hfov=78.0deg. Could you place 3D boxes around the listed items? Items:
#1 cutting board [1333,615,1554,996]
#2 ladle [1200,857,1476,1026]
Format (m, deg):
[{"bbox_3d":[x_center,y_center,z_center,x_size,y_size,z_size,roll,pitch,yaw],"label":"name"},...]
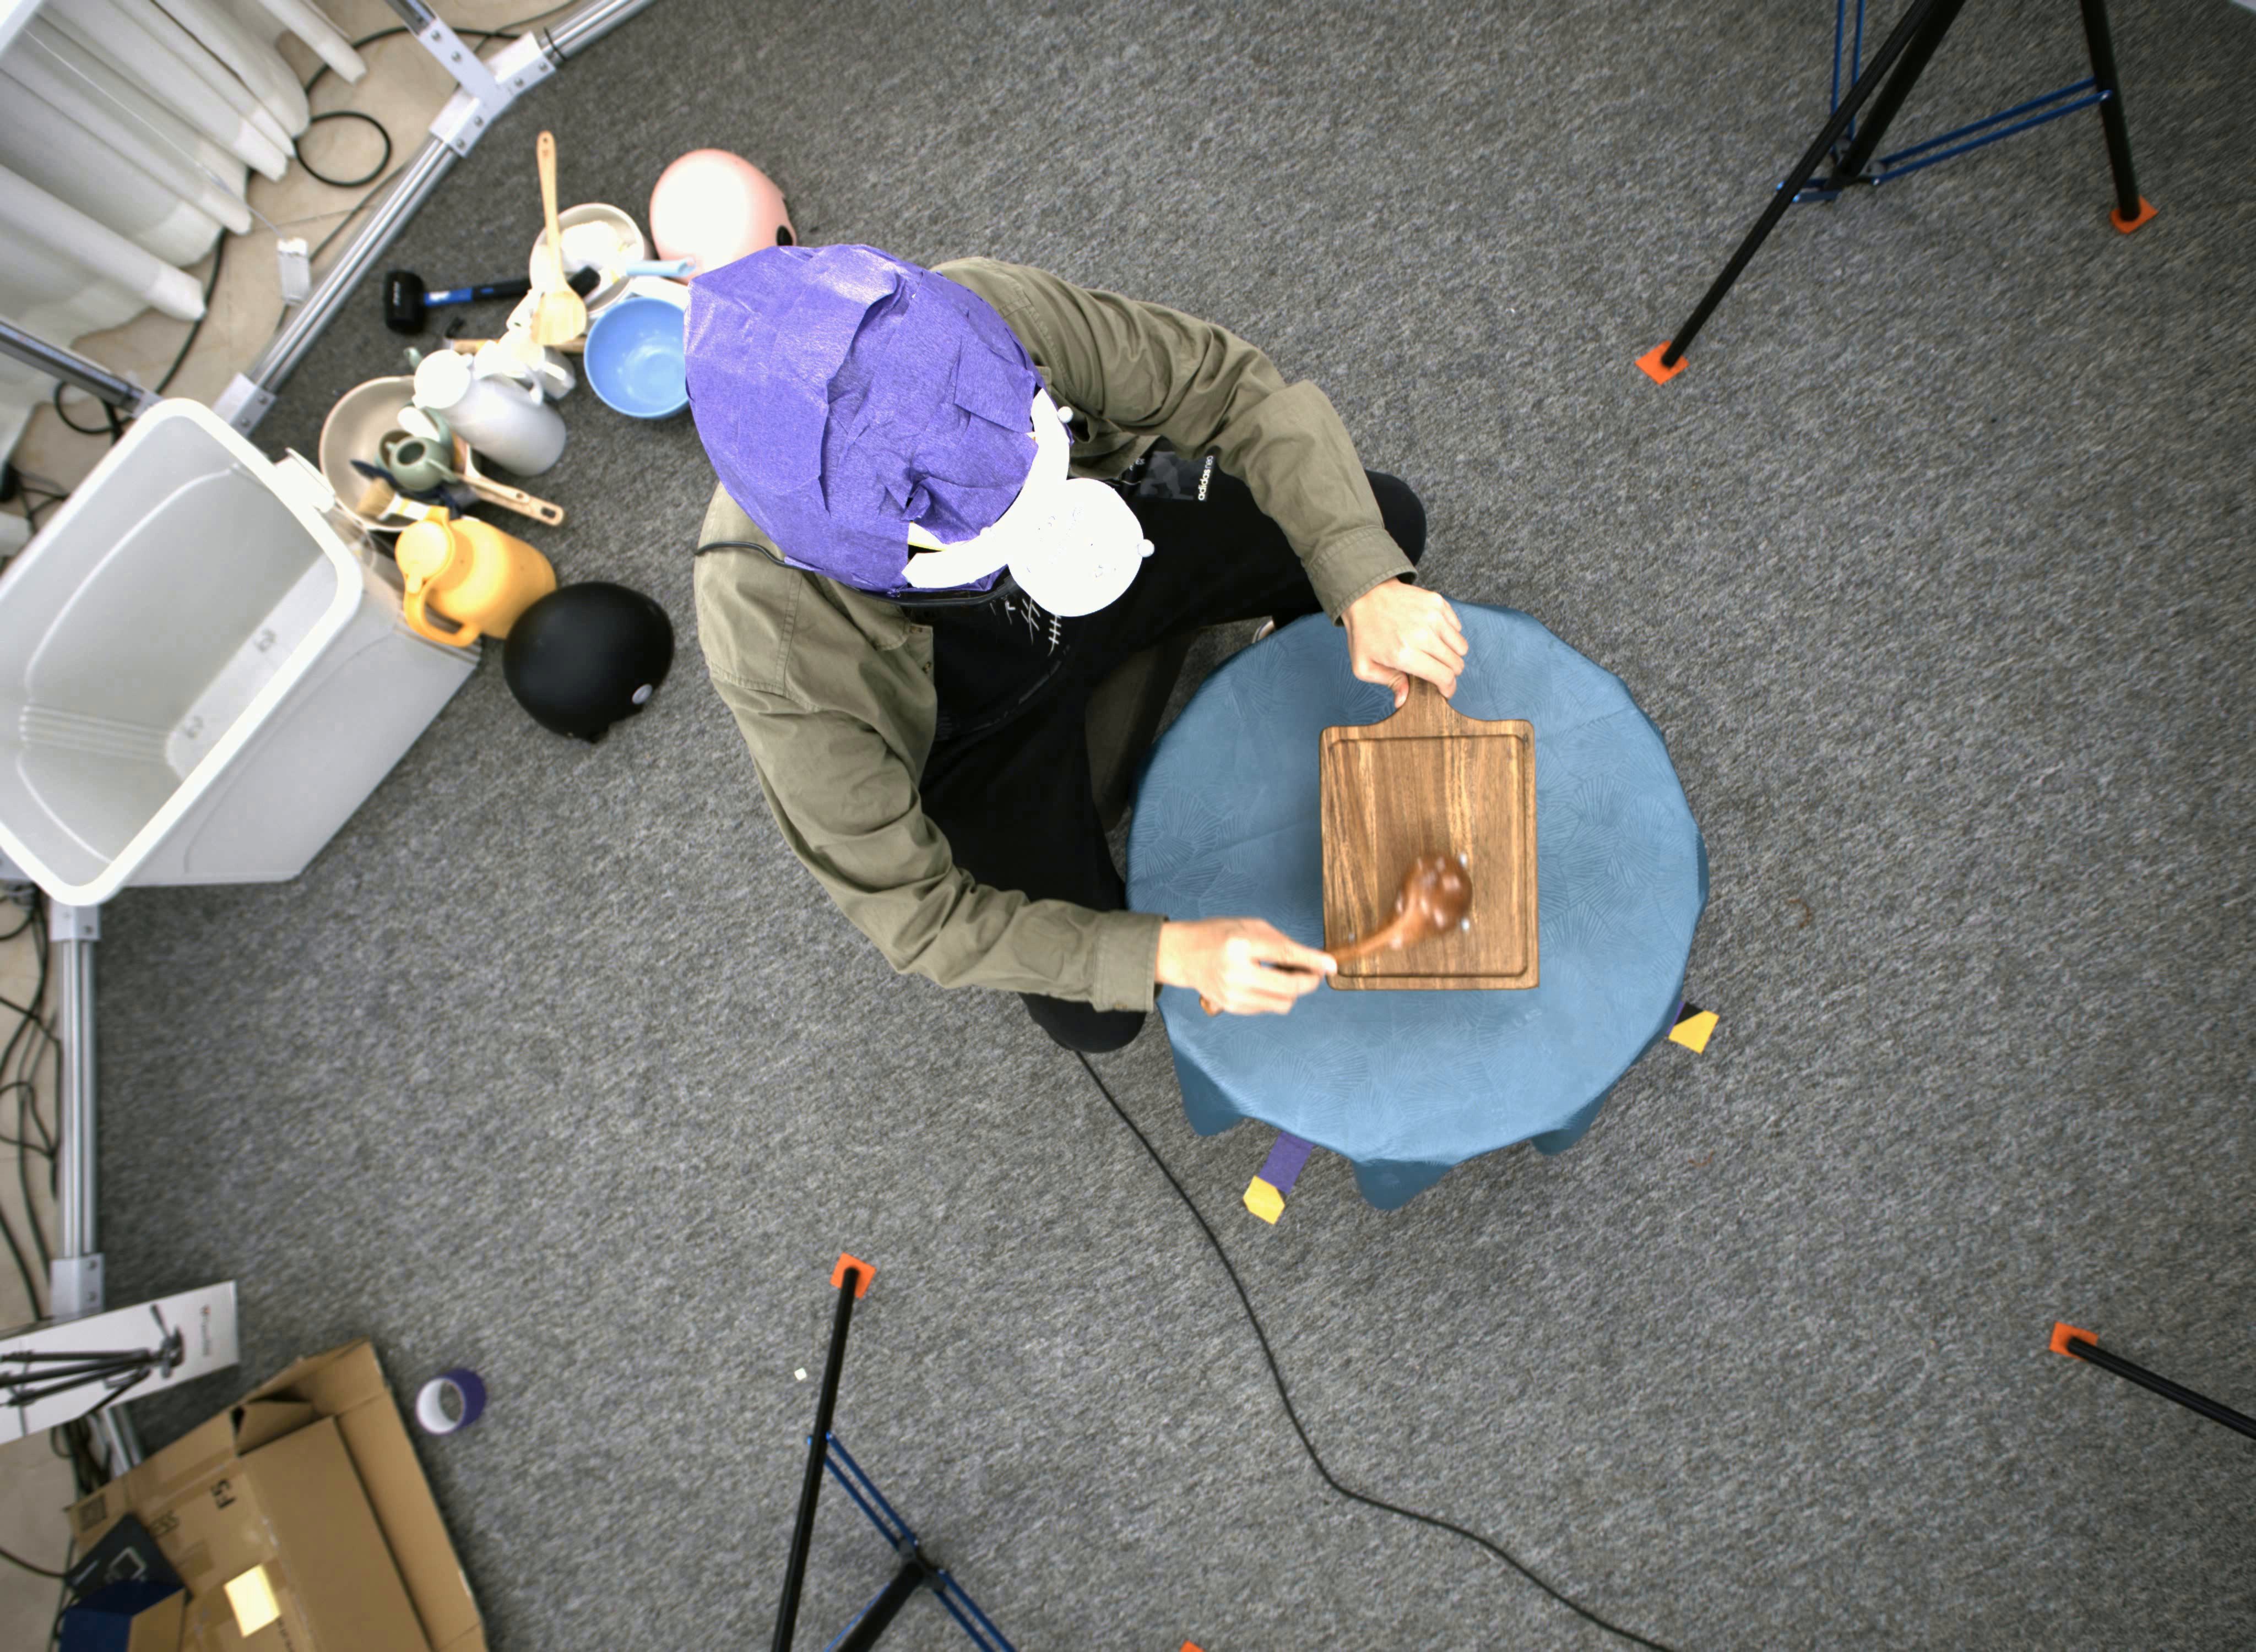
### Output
[{"bbox_3d":[0.291,-0.019,1.269,0.202,0.023,0.354,1,97,12],"label":"cutting board"},{"bbox_3d":[0.186,0.106,1.262,0.278,0.074,0.083,-24,120,27],"label":"ladle"}]
